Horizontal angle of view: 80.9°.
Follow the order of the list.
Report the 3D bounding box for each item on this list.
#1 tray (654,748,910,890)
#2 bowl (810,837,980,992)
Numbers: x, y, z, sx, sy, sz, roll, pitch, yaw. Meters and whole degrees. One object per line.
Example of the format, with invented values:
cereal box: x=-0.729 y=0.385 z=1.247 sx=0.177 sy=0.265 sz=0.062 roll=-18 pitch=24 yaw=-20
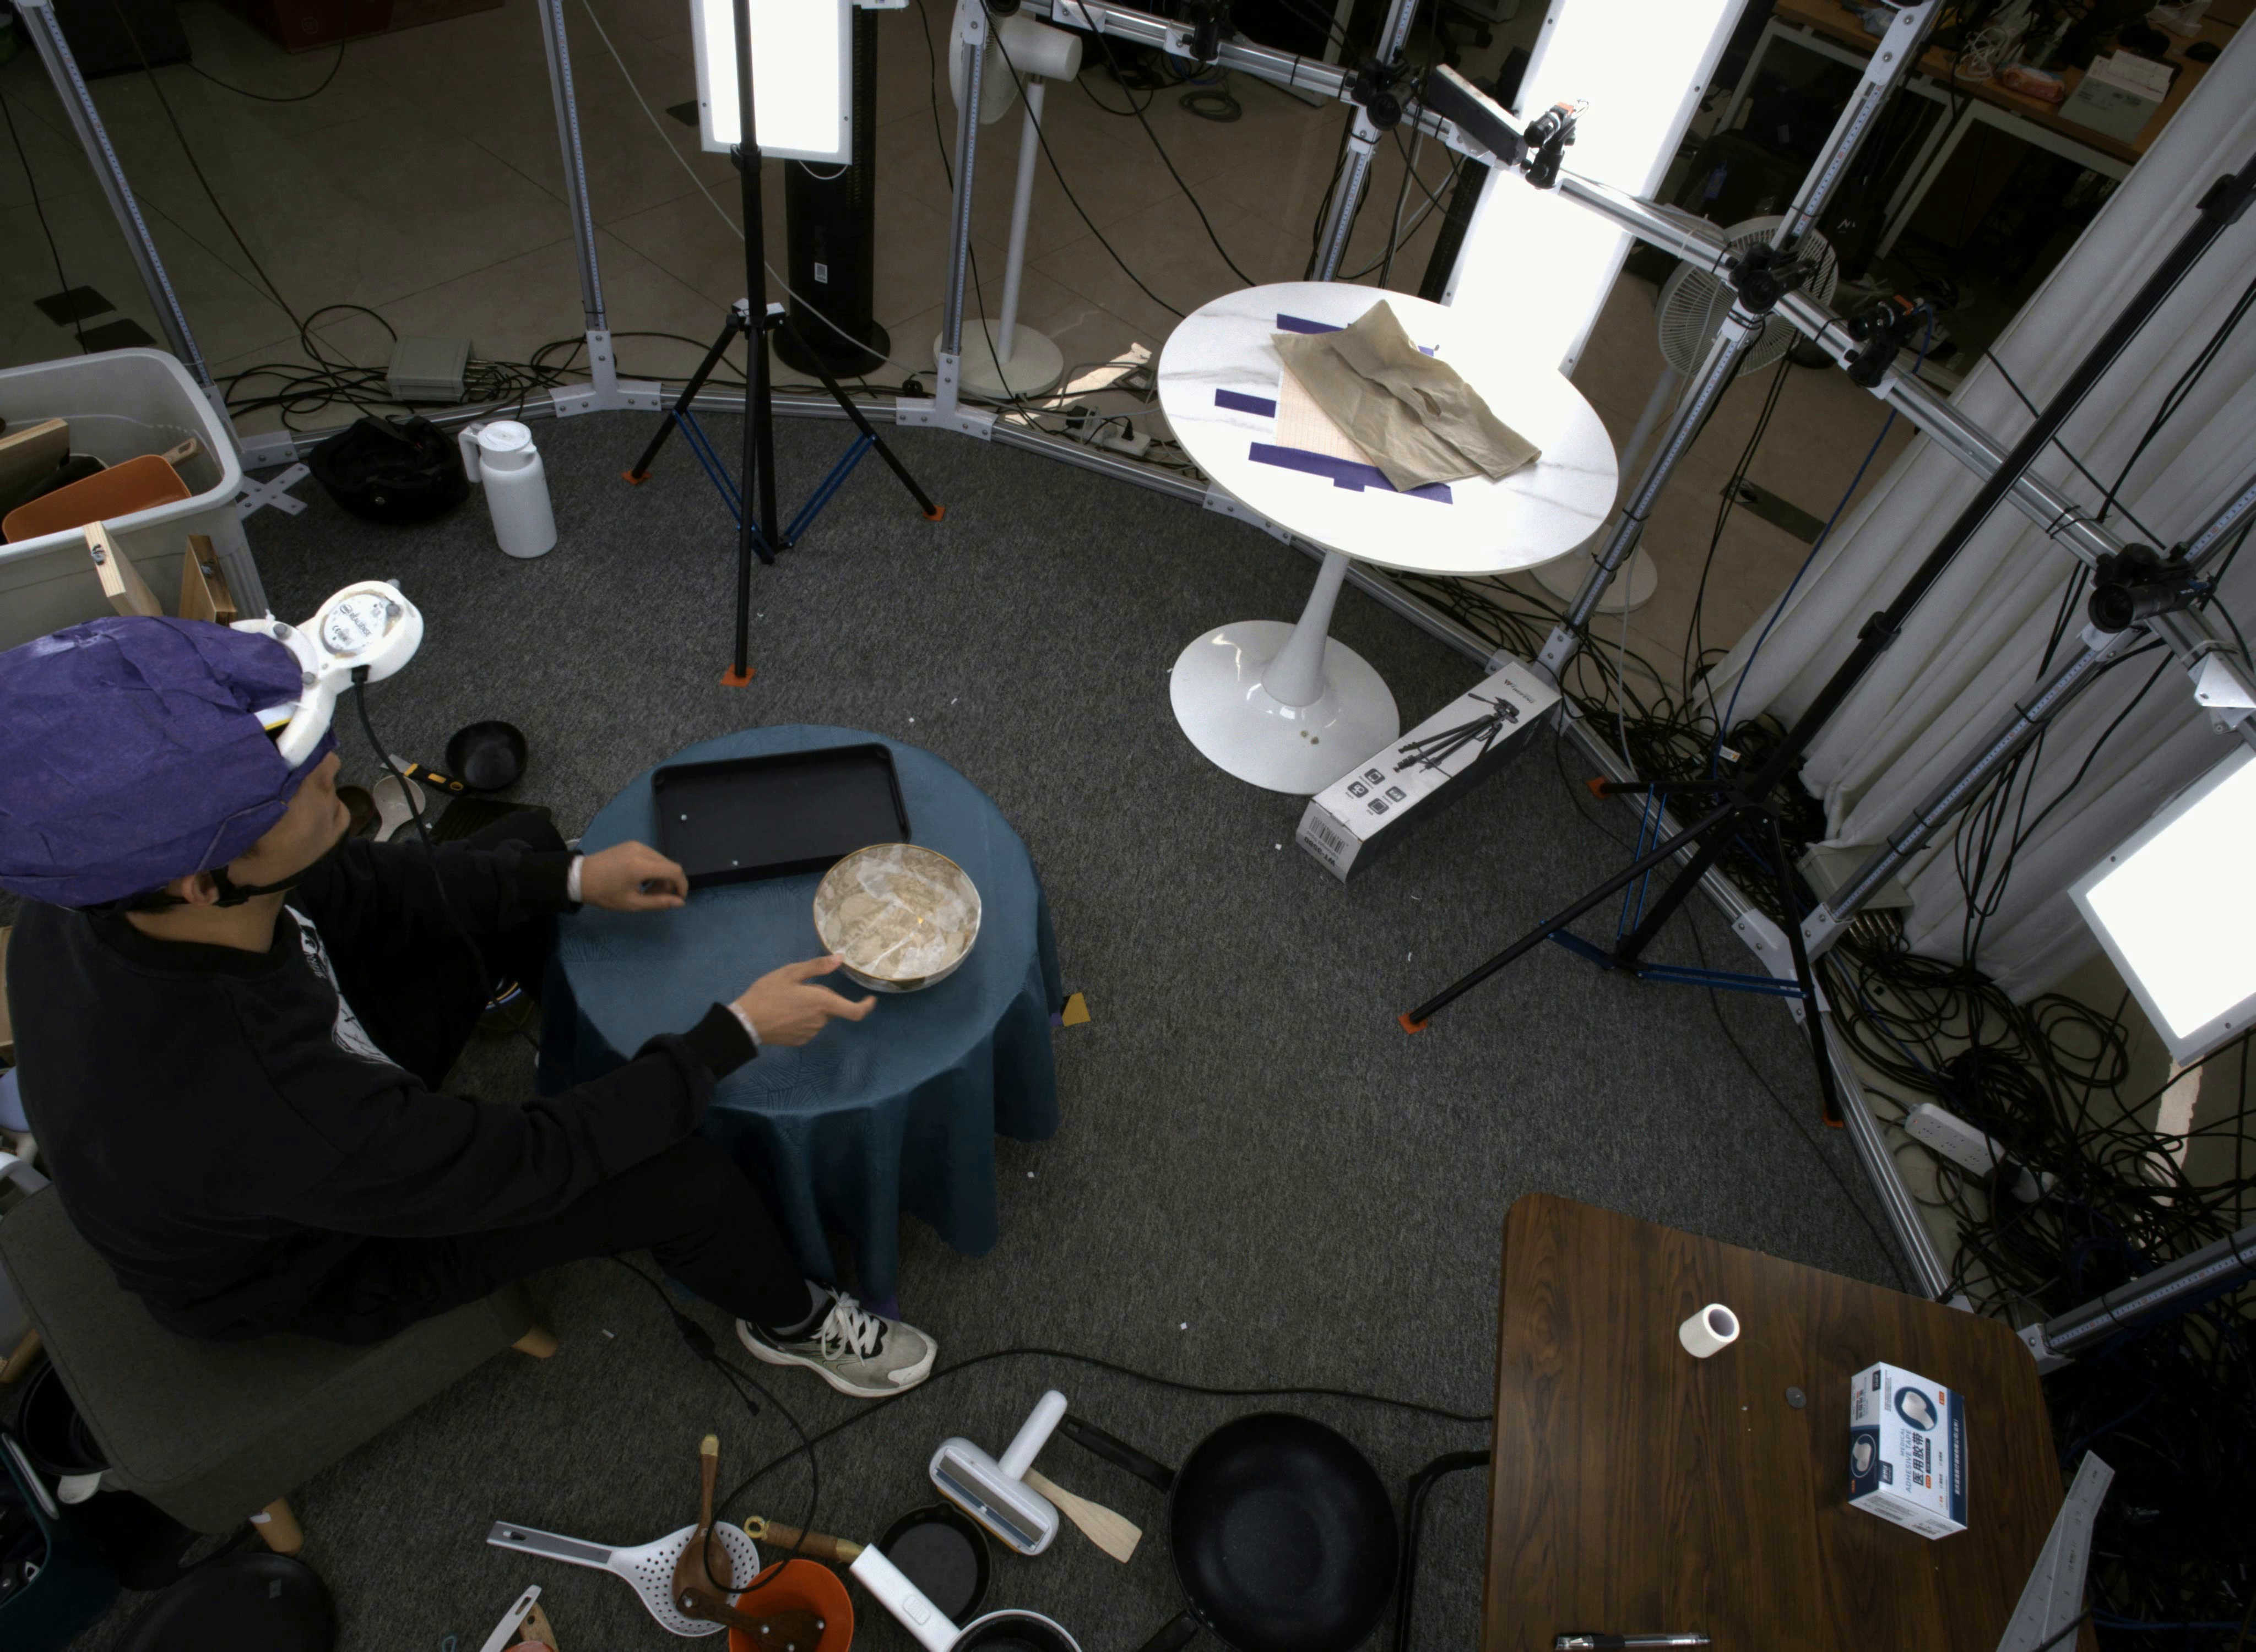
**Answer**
tray: x=-0.458 y=-0.015 z=1.712 sx=0.319 sy=0.038 sz=0.180 roll=-6 pitch=55 yaw=-20
bowl: x=-0.290 y=0.121 z=1.613 sx=0.214 sy=0.096 sz=0.211 roll=8 pitch=54 yaw=-9
